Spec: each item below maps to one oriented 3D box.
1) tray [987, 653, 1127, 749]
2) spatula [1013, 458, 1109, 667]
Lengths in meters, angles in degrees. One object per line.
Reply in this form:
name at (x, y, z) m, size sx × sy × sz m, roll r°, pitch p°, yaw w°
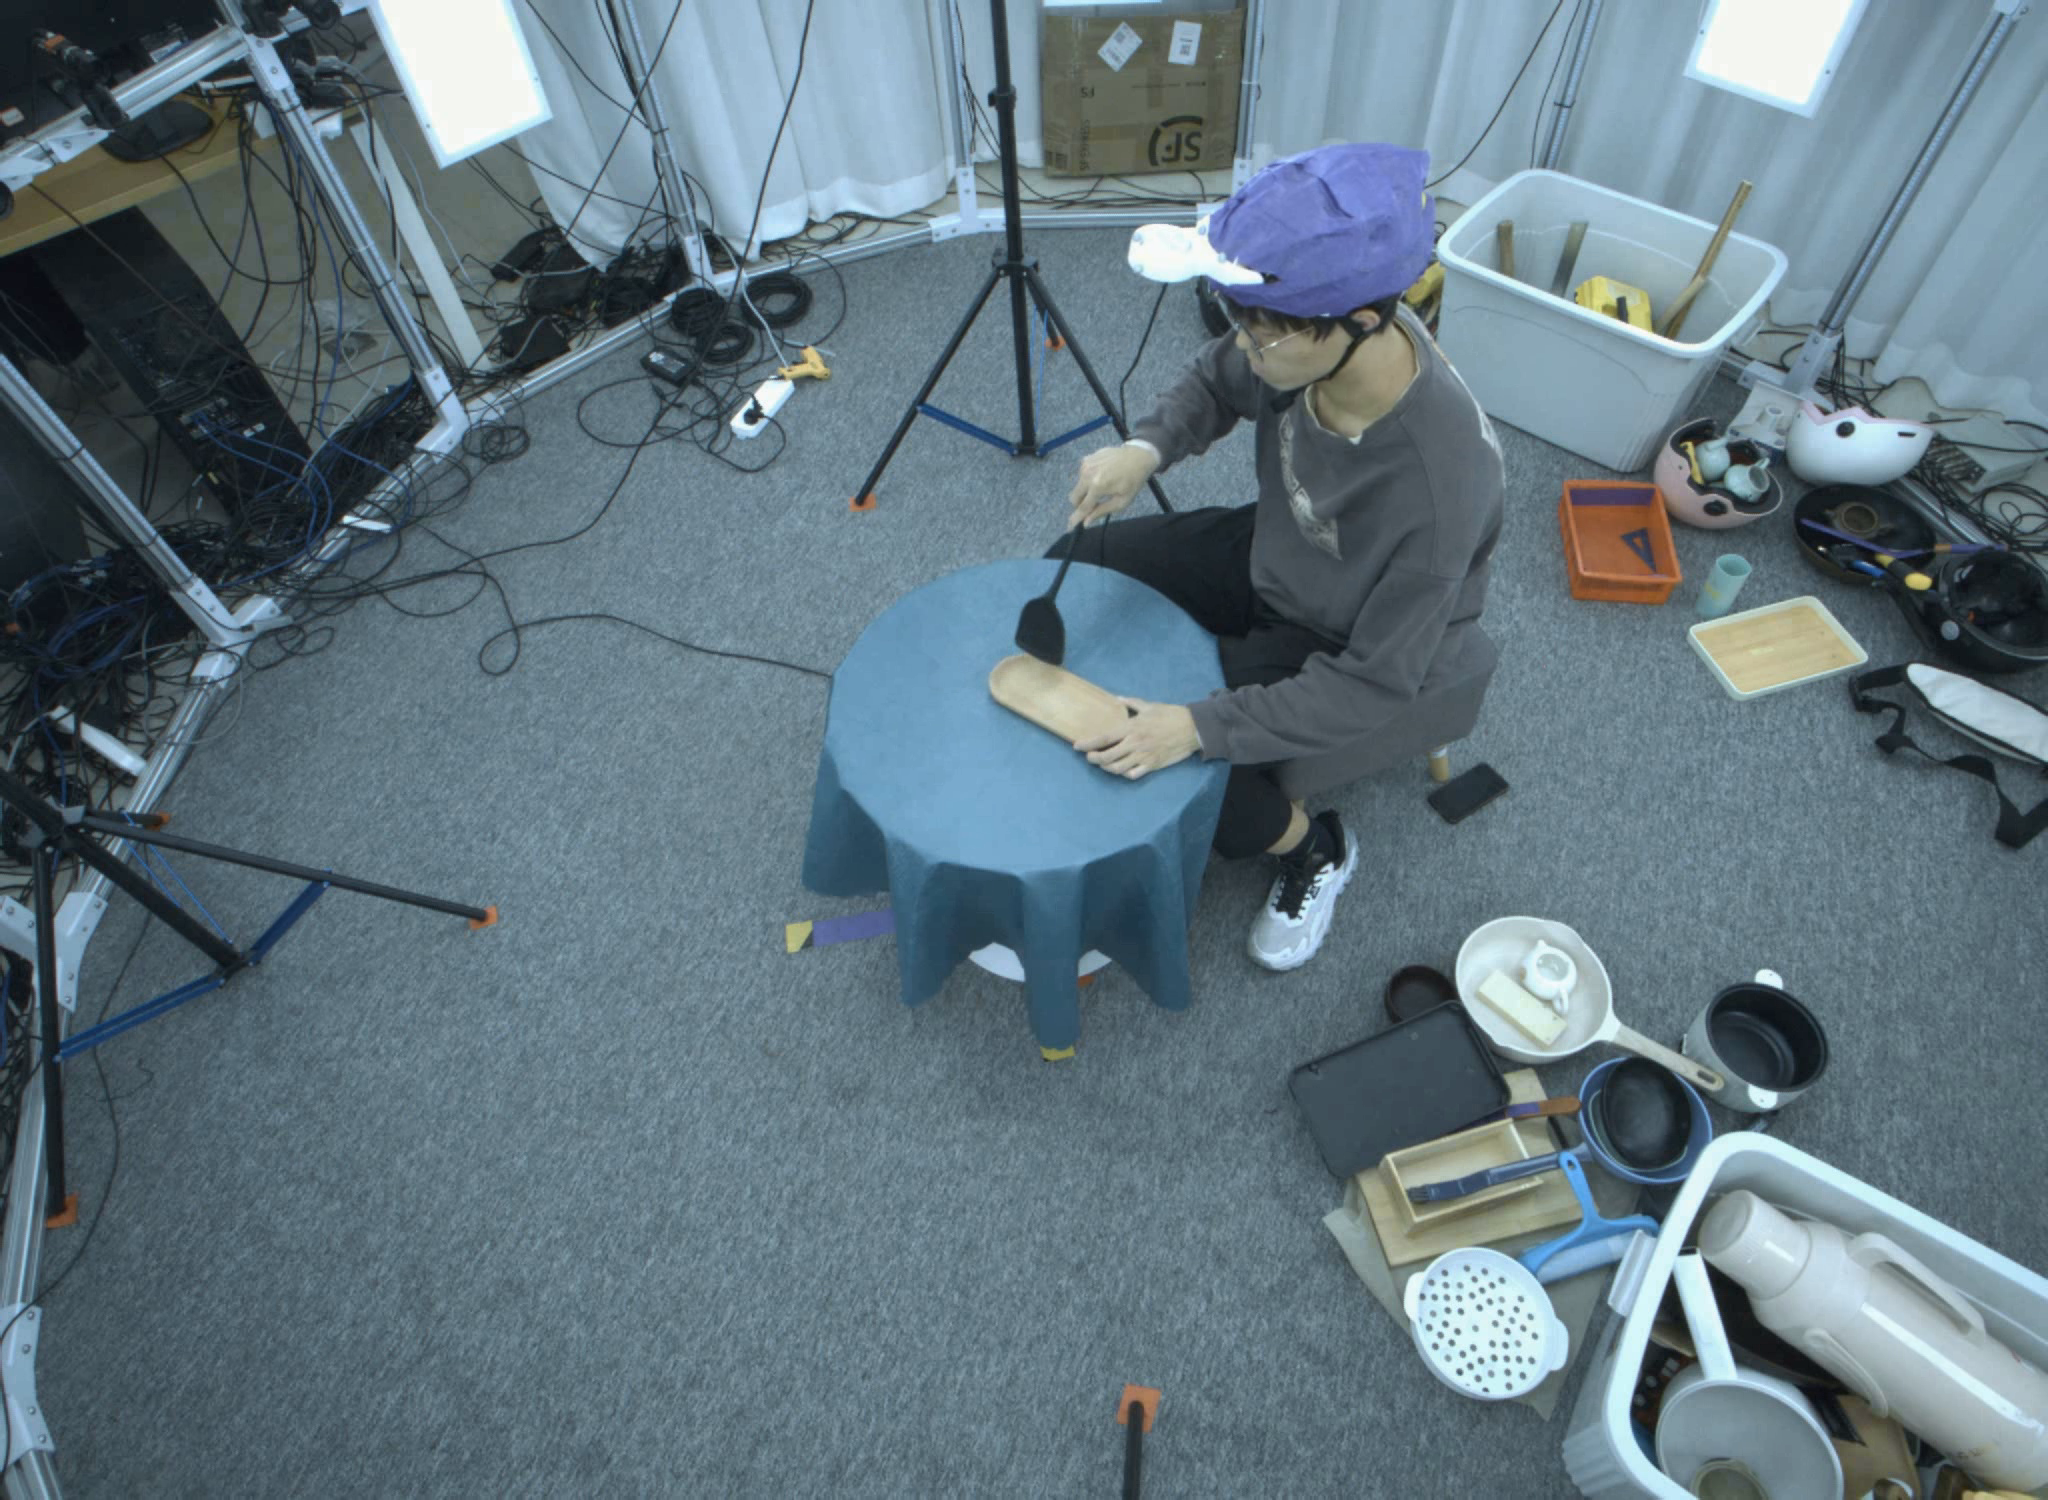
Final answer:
tray at (0.048, -0.073, 1.826) m, size 0.227 × 0.020 × 0.102 m, roll 29°, pitch 59°, yaw 22°
spatula at (0.068, -0.286, 1.821) m, size 0.039 × 0.102 × 0.326 m, roll 20°, pitch 87°, yaw 50°
